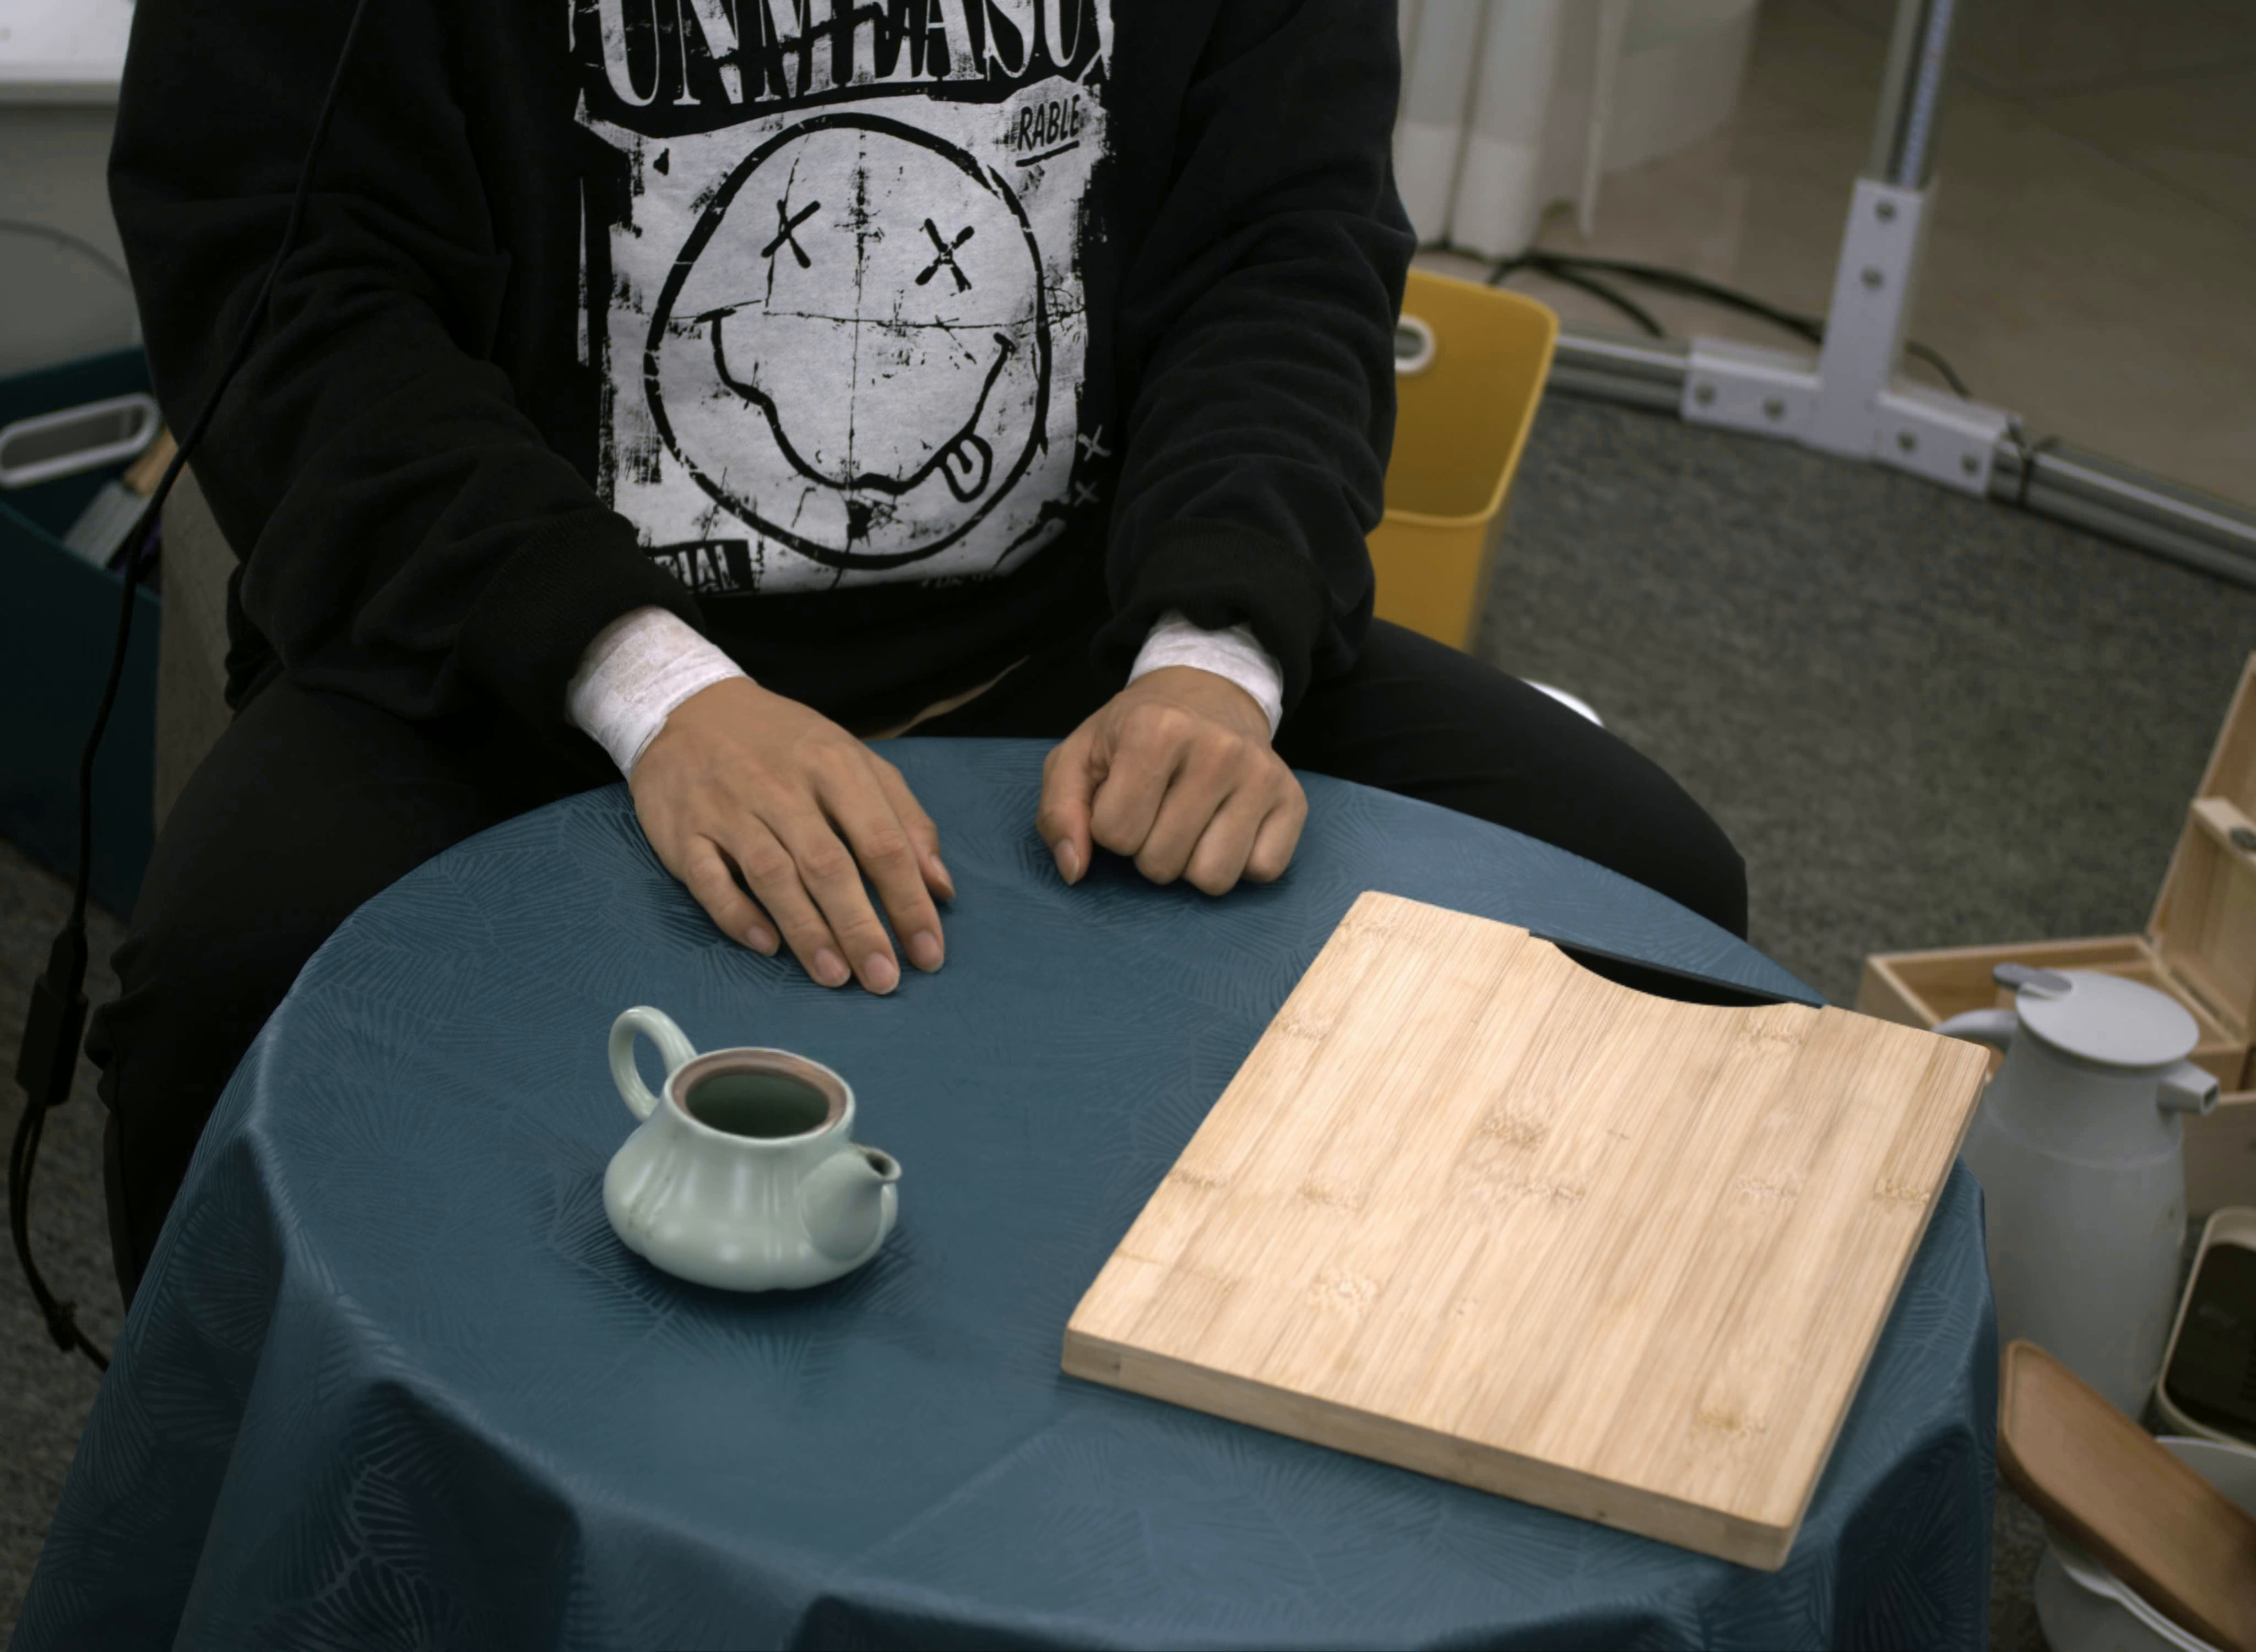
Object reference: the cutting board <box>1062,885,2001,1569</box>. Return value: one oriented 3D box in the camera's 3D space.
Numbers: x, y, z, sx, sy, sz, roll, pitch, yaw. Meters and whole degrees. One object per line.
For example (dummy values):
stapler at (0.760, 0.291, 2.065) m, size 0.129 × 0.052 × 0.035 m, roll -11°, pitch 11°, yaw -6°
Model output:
cutting board at (0.147, 0.126, 1.816) m, size 0.251 × 0.023 × 0.349 m, roll 14°, pitch 28°, yaw 13°

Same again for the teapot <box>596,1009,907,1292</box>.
teapot at (-0.126, 0.108, 1.741) m, size 0.138 × 0.061 × 0.096 m, roll 28°, pitch 35°, yaw 35°
